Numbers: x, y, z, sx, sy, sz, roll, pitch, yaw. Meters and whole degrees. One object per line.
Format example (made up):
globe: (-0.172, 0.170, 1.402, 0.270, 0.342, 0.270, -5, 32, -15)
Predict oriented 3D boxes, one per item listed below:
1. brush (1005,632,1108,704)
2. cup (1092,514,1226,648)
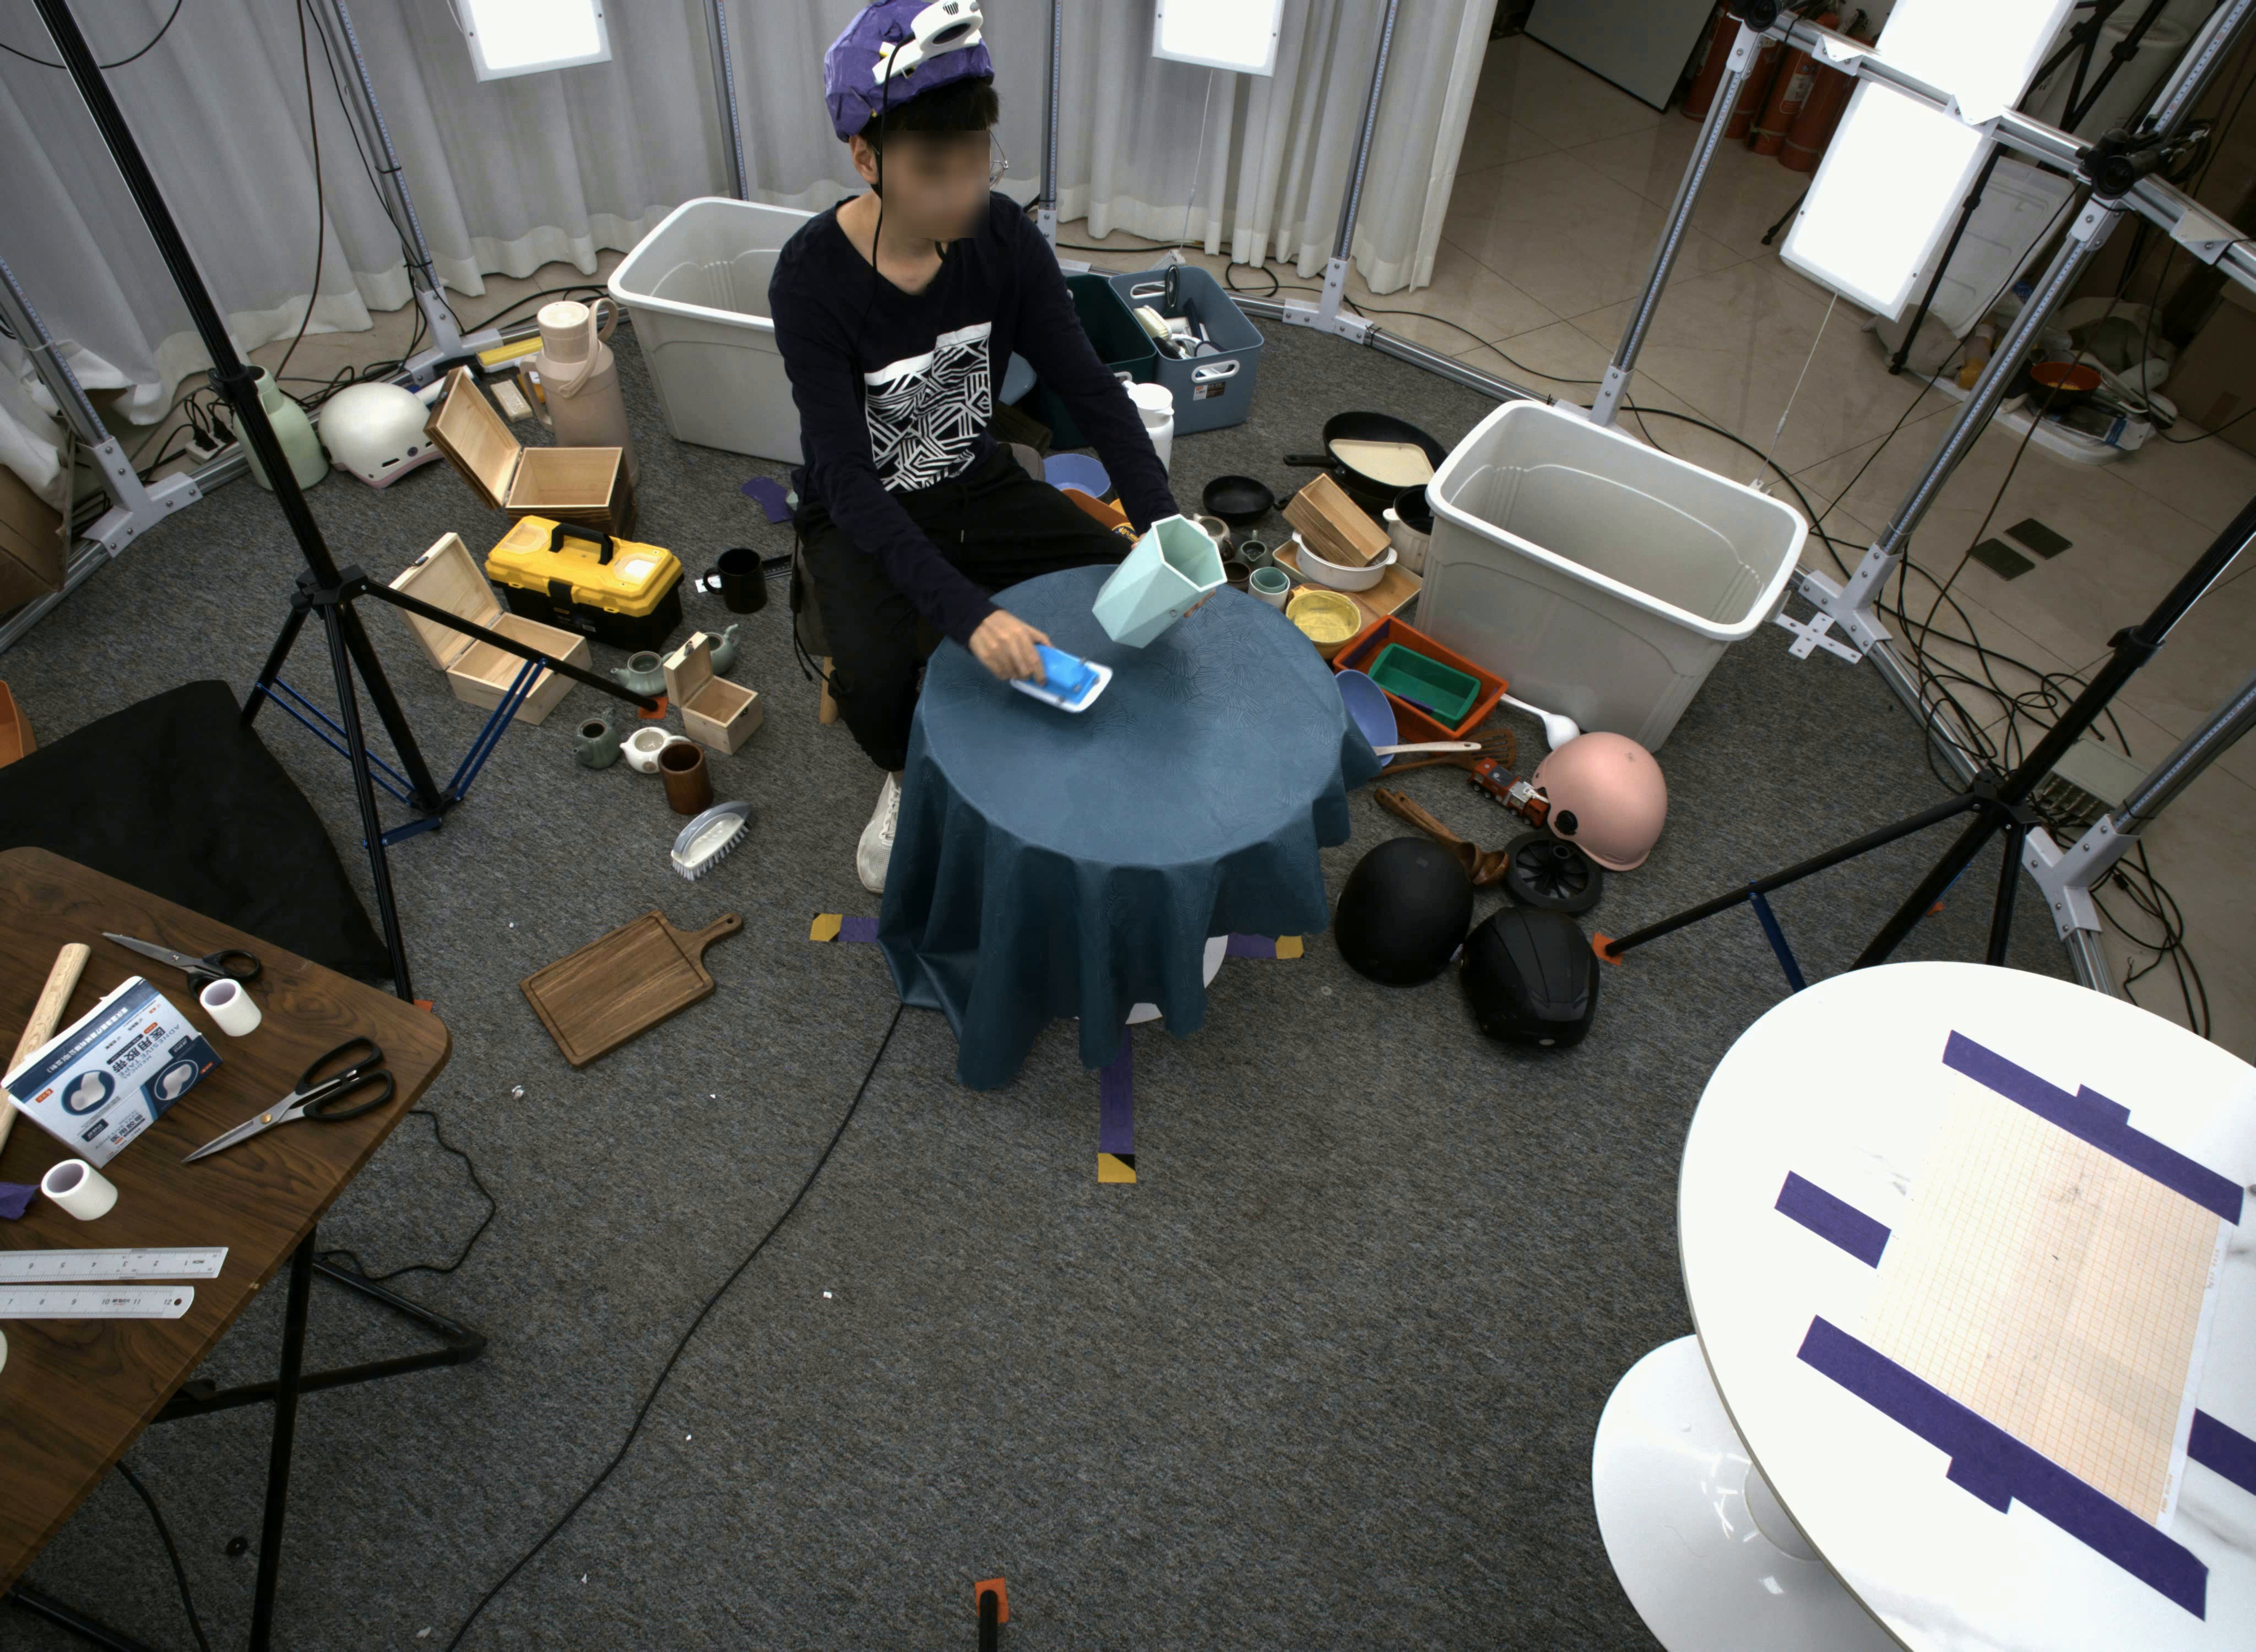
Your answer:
brush: (-0.103, -0.223, 1.774, 0.146, 0.054, 0.085, 26, 65, 31)
cup: (0.037, -0.332, 1.782, 0.115, 0.161, 0.132, 54, 43, 4)
